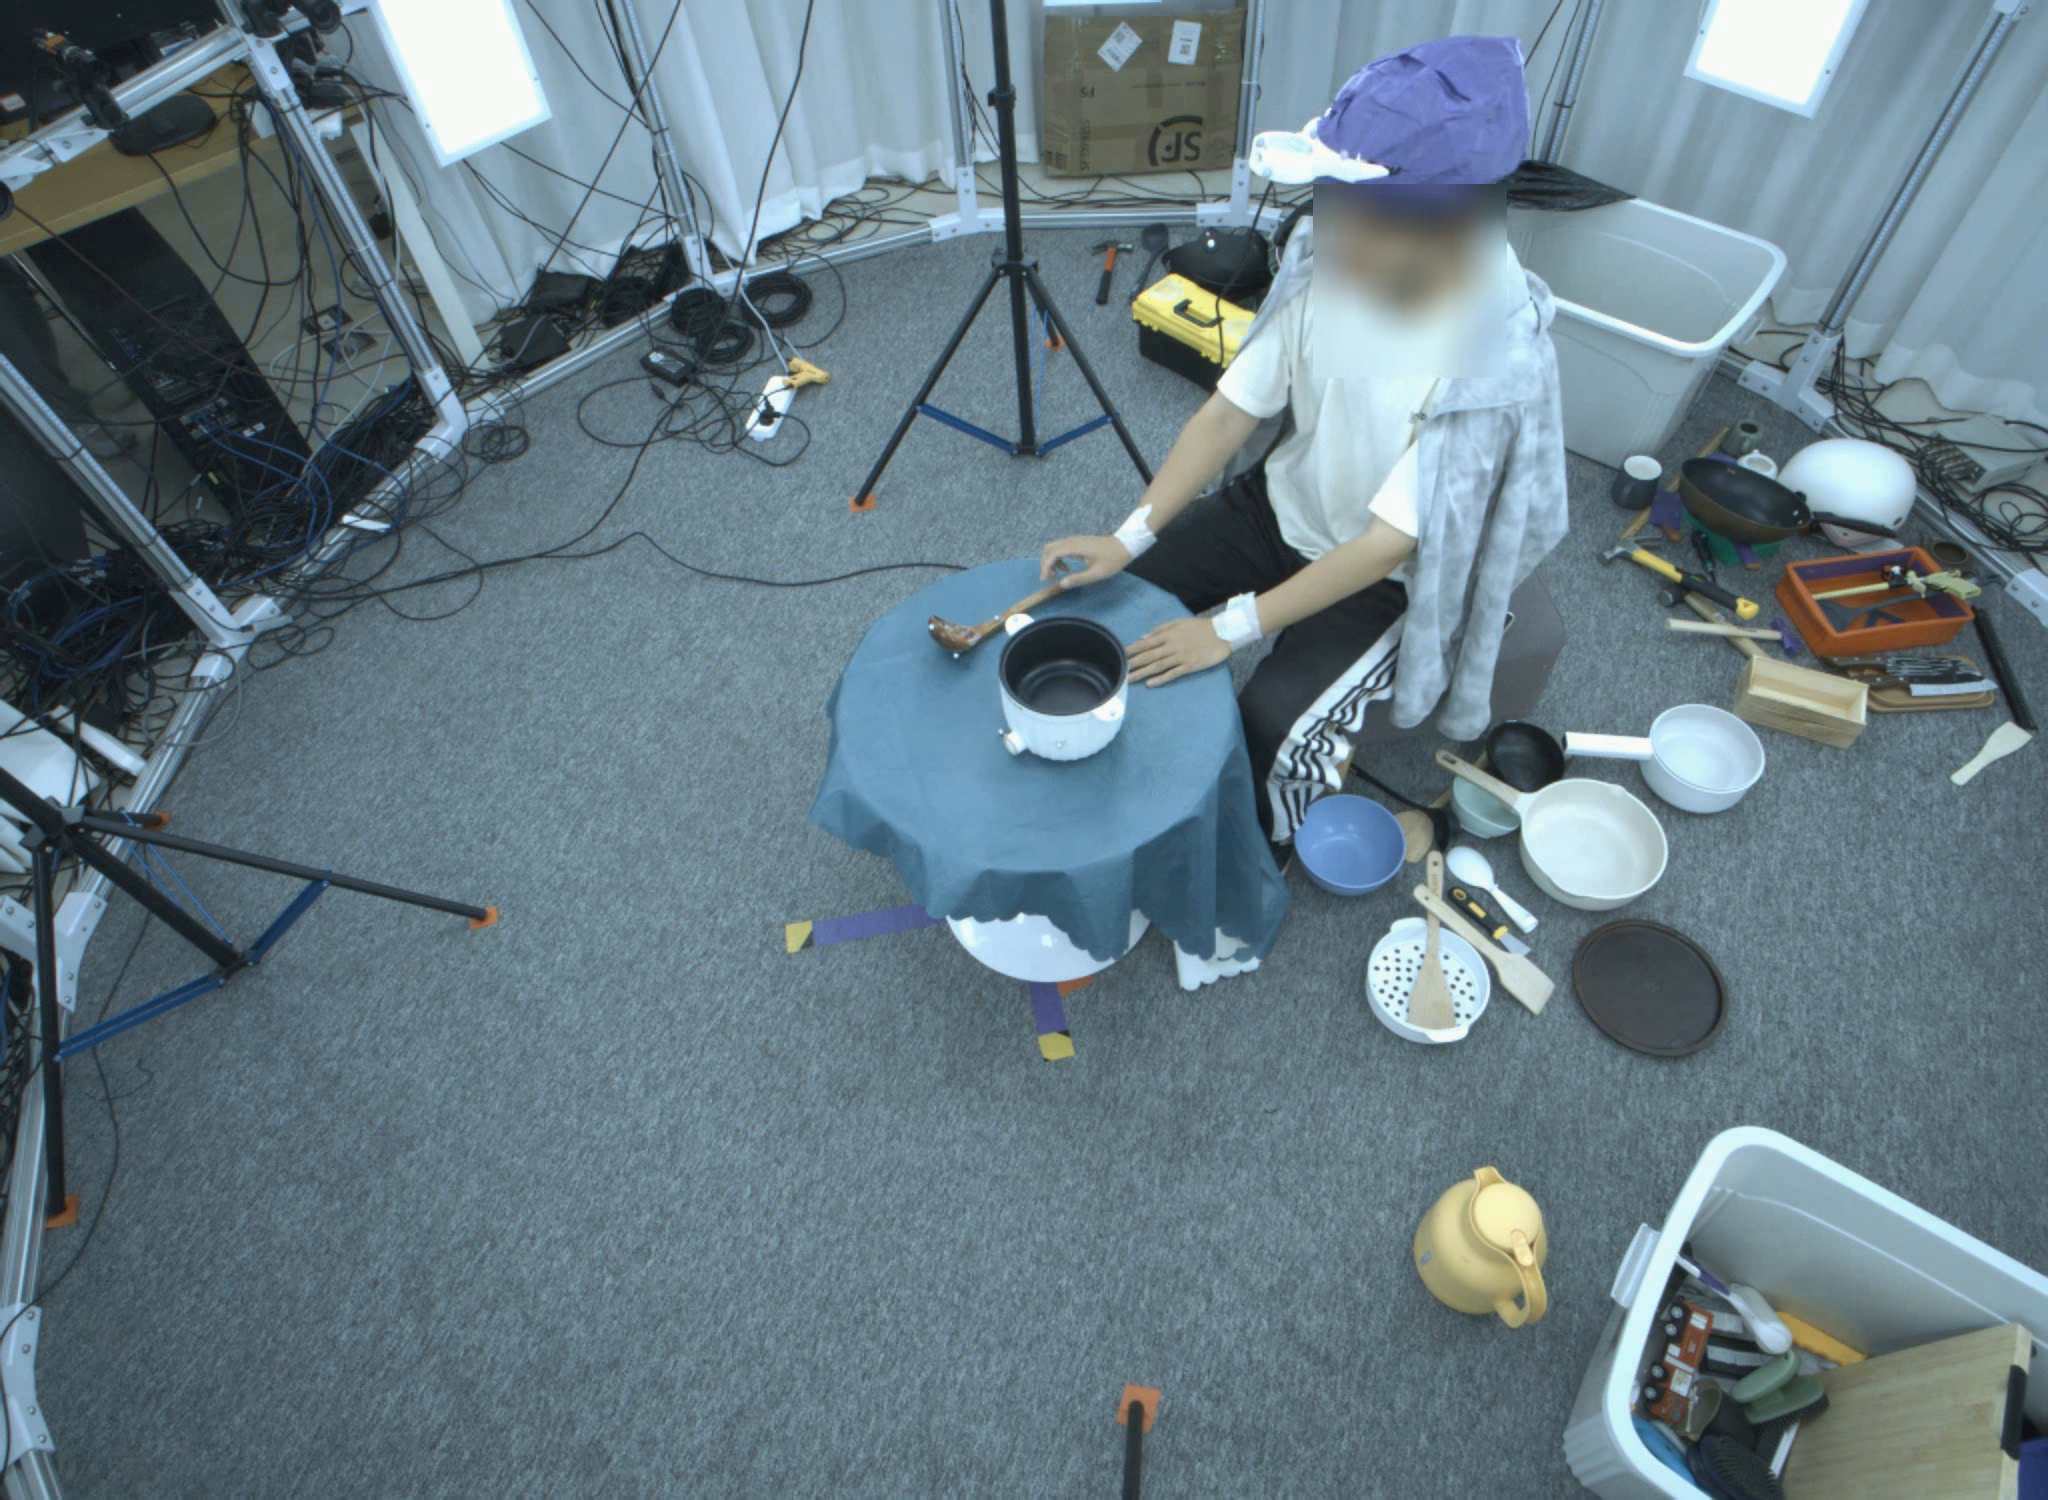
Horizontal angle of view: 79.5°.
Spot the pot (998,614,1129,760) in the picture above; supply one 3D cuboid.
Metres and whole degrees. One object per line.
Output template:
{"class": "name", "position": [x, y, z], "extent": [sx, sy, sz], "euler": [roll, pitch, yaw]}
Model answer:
{"class": "pot", "position": [0.053, -0.078, 1.757], "extent": [0.192, 0.144, 0.236], "euler": [-32, 58, -22]}

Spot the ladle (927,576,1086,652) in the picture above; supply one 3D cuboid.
{"class": "ladle", "position": [-0.026, -0.229, 1.906], "extent": [0.276, 0.077, 0.080], "euler": [-30, 55, -17]}
